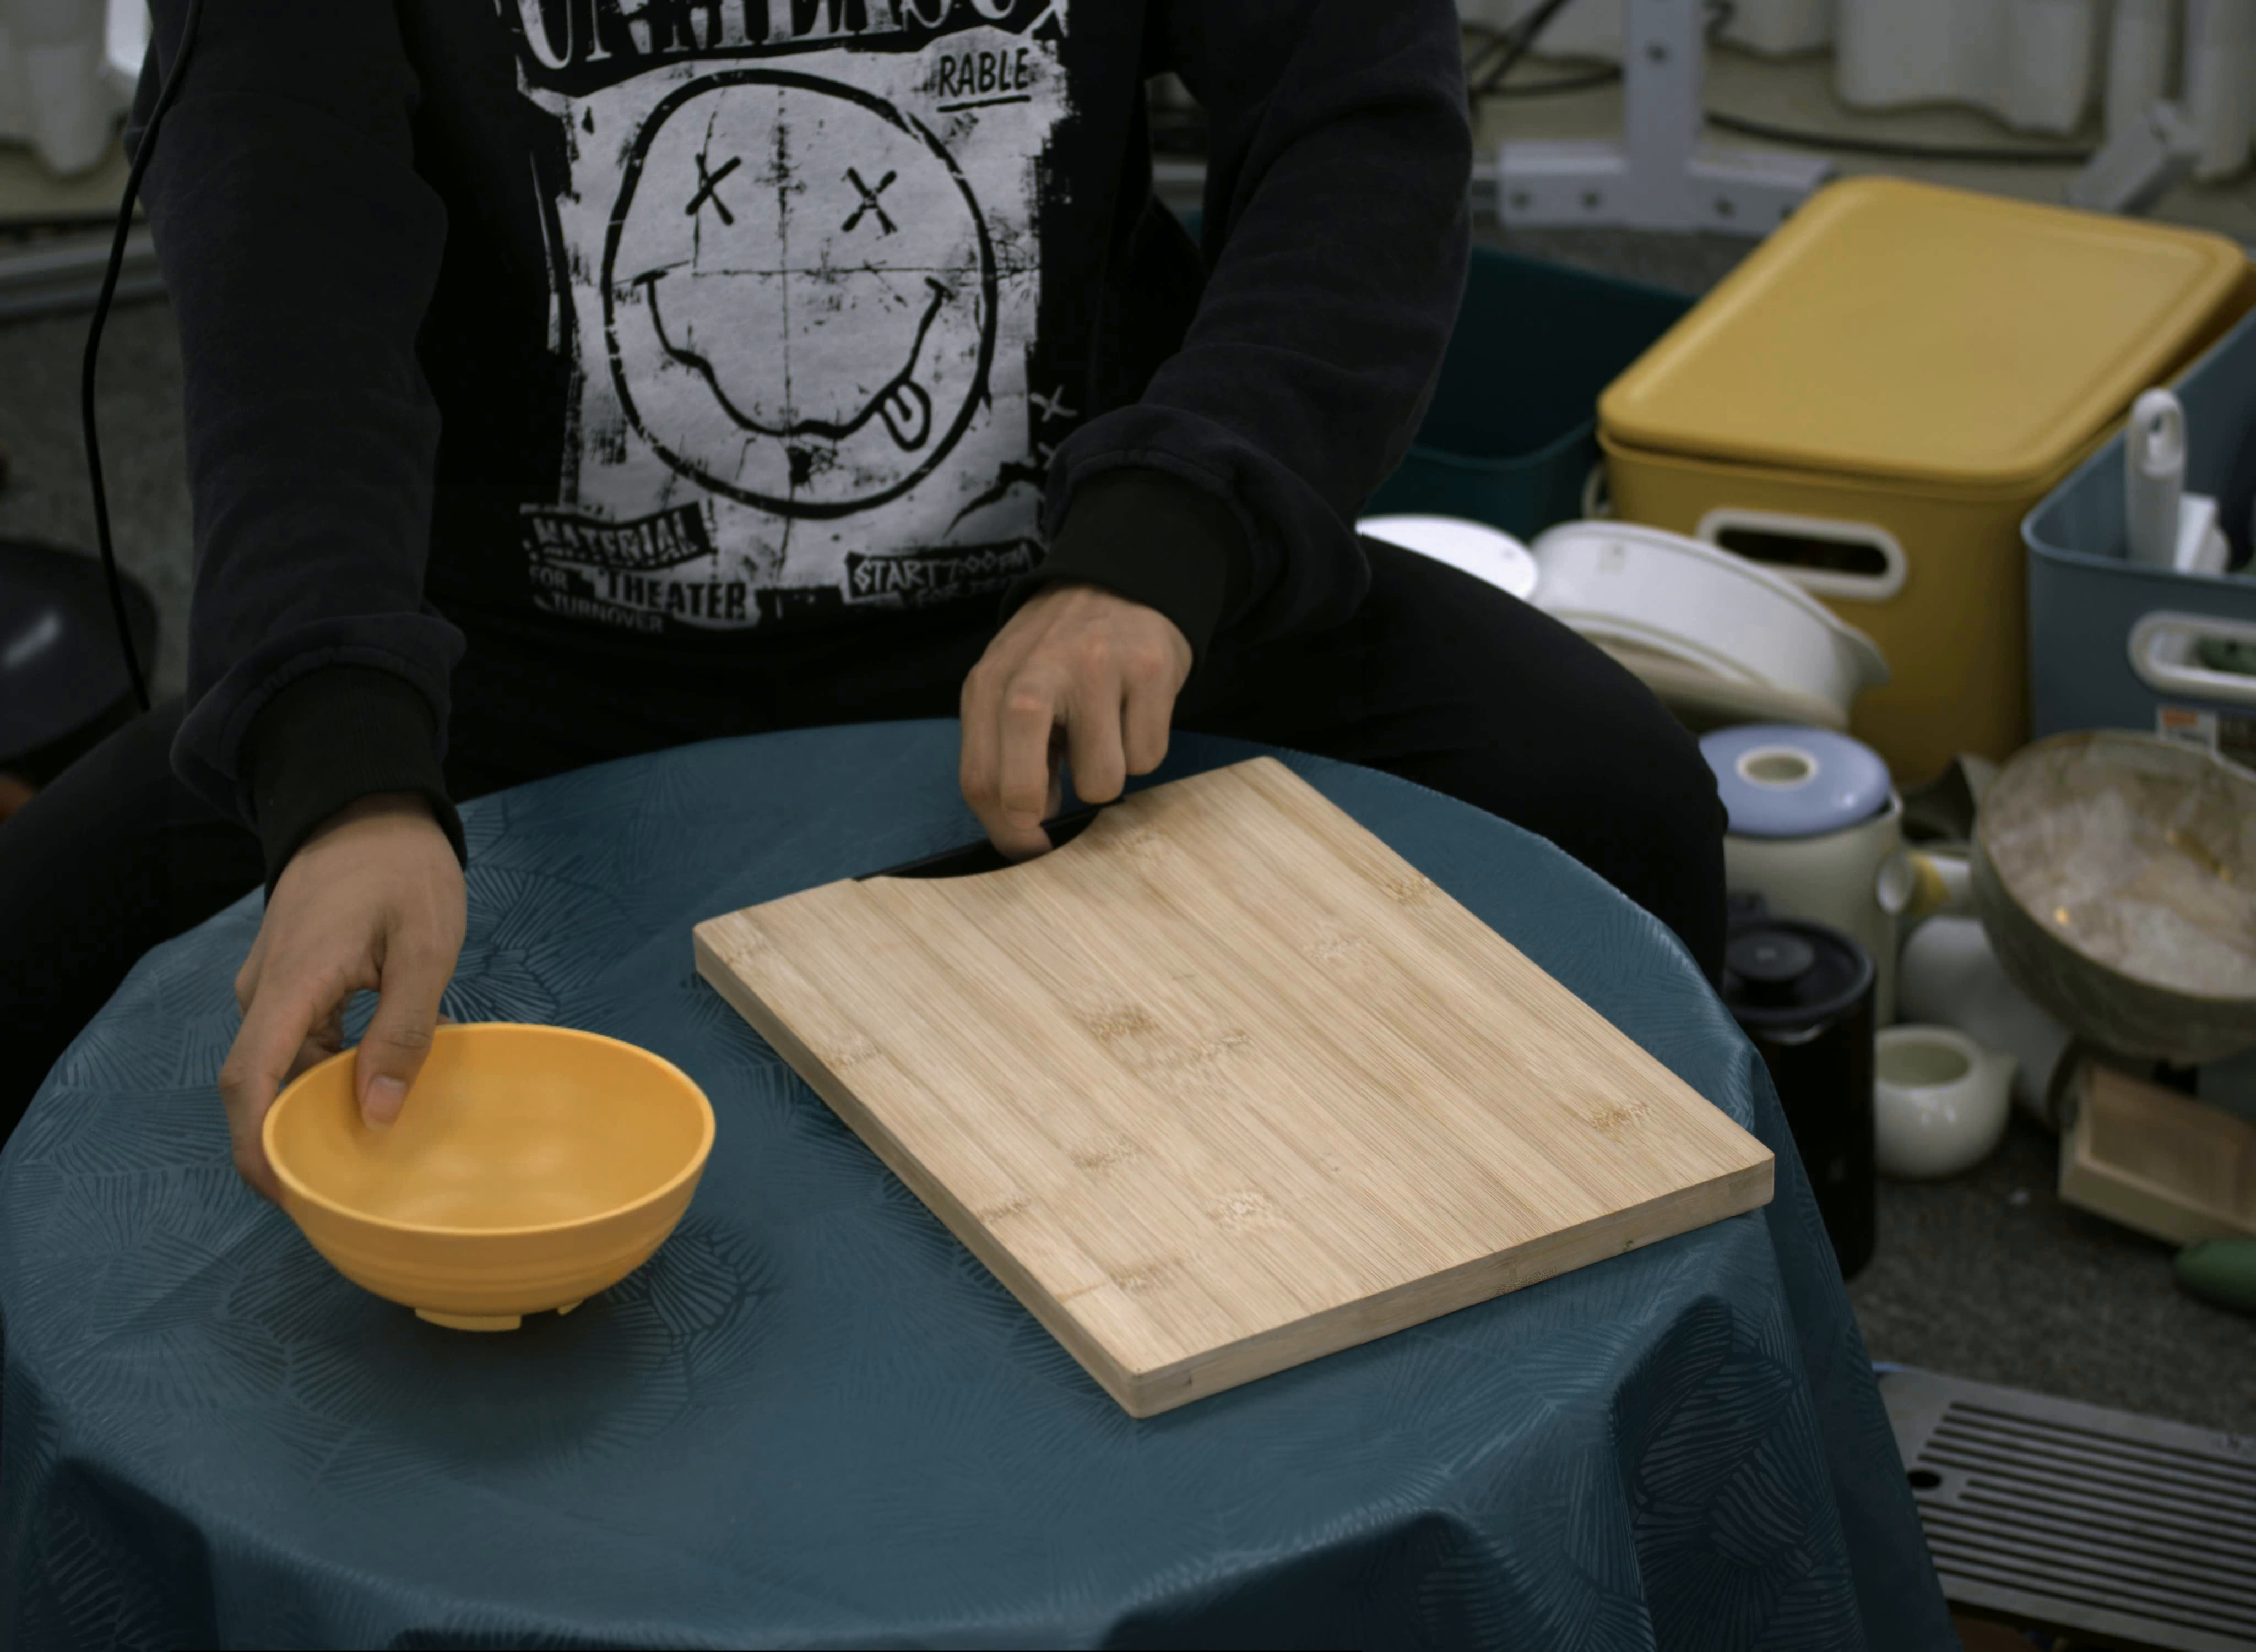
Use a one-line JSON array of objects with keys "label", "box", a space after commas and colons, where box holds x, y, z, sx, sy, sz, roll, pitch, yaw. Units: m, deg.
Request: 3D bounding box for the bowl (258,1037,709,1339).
[{"label": "bowl", "box": [-0.207, 0.125, 1.810, 0.144, 0.059, 0.147, 3, 22, -1]}]

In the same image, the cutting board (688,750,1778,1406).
[{"label": "cutting board", "box": [0.027, 0.078, 1.924, 0.252, 0.023, 0.350, -16, 30, -24]}]
